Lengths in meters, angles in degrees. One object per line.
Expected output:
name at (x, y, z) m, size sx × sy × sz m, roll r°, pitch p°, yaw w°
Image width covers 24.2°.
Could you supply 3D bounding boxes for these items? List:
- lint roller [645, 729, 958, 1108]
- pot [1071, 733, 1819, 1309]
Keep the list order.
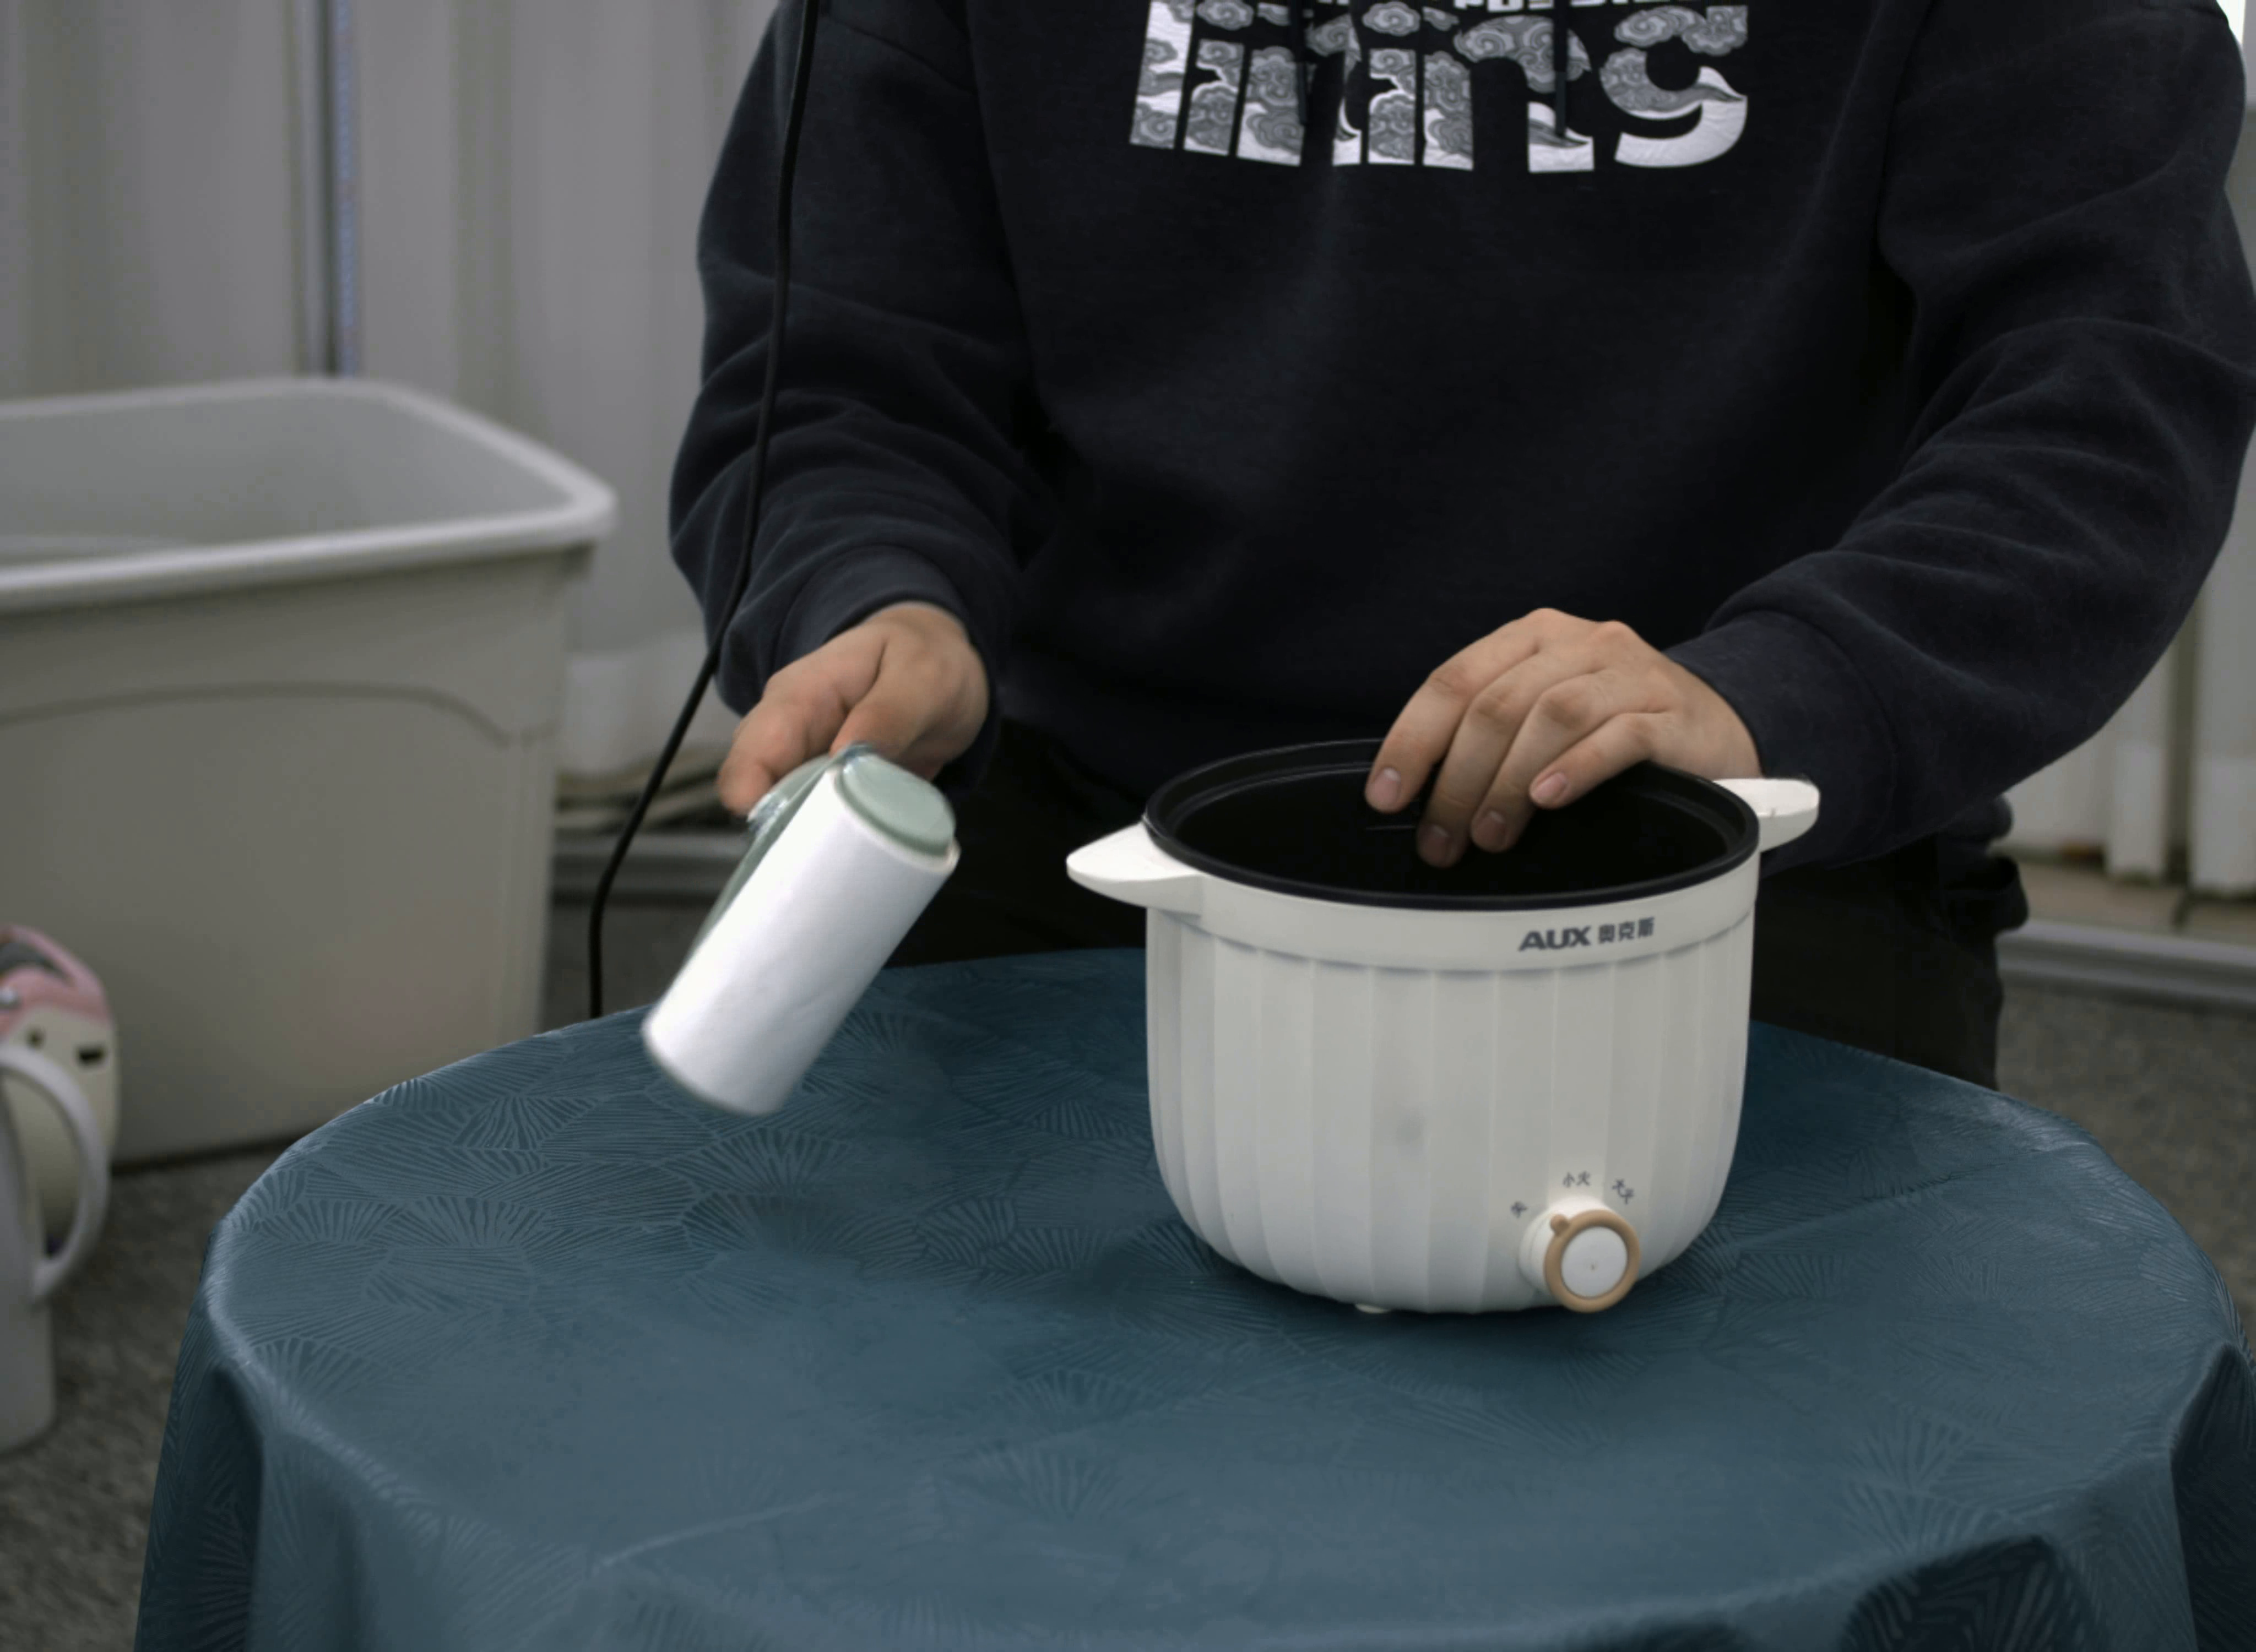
lint roller at (-0.093, 0.007, 1.644) m, size 0.048 × 0.117 × 0.196 m, roll 35°, pitch 18°, yaw -9°
pot at (0.099, 0.060, 1.558) m, size 0.241 × 0.144 × 0.188 m, roll -7°, pitch 14°, yaw -22°
